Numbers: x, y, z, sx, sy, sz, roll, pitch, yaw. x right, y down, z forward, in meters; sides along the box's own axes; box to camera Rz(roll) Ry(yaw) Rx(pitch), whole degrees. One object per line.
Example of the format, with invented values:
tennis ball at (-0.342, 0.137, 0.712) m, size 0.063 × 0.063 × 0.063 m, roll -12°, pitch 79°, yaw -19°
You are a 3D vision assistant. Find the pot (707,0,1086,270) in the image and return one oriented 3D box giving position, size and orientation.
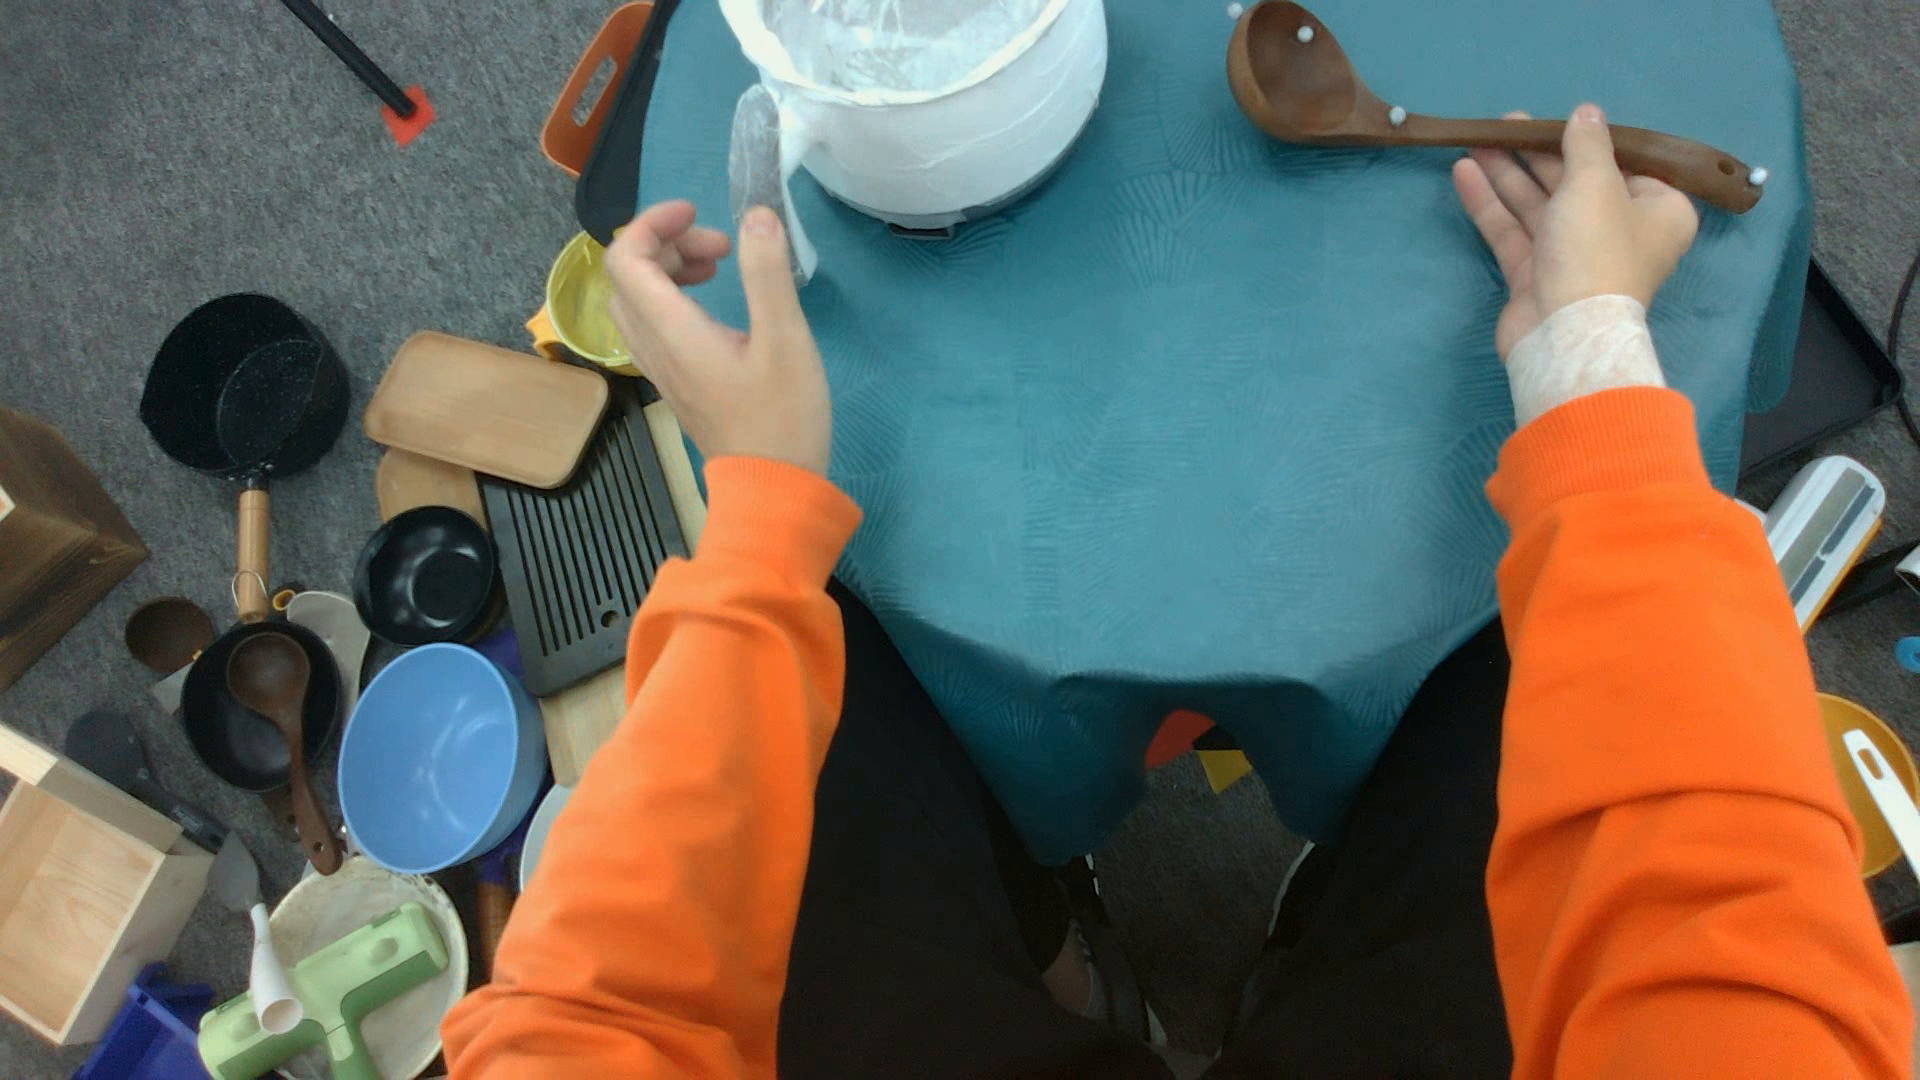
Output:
pot at (-0.044, -0.246, 0.682) m, size 0.179 × 0.136 × 0.234 m, roll 33°, pitch 82°, yaw 16°

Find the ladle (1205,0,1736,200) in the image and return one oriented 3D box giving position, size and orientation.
ladle at (0.246, -0.217, 0.667) m, size 0.260 × 0.065 × 0.077 m, roll 17°, pitch 67°, yaw 15°
